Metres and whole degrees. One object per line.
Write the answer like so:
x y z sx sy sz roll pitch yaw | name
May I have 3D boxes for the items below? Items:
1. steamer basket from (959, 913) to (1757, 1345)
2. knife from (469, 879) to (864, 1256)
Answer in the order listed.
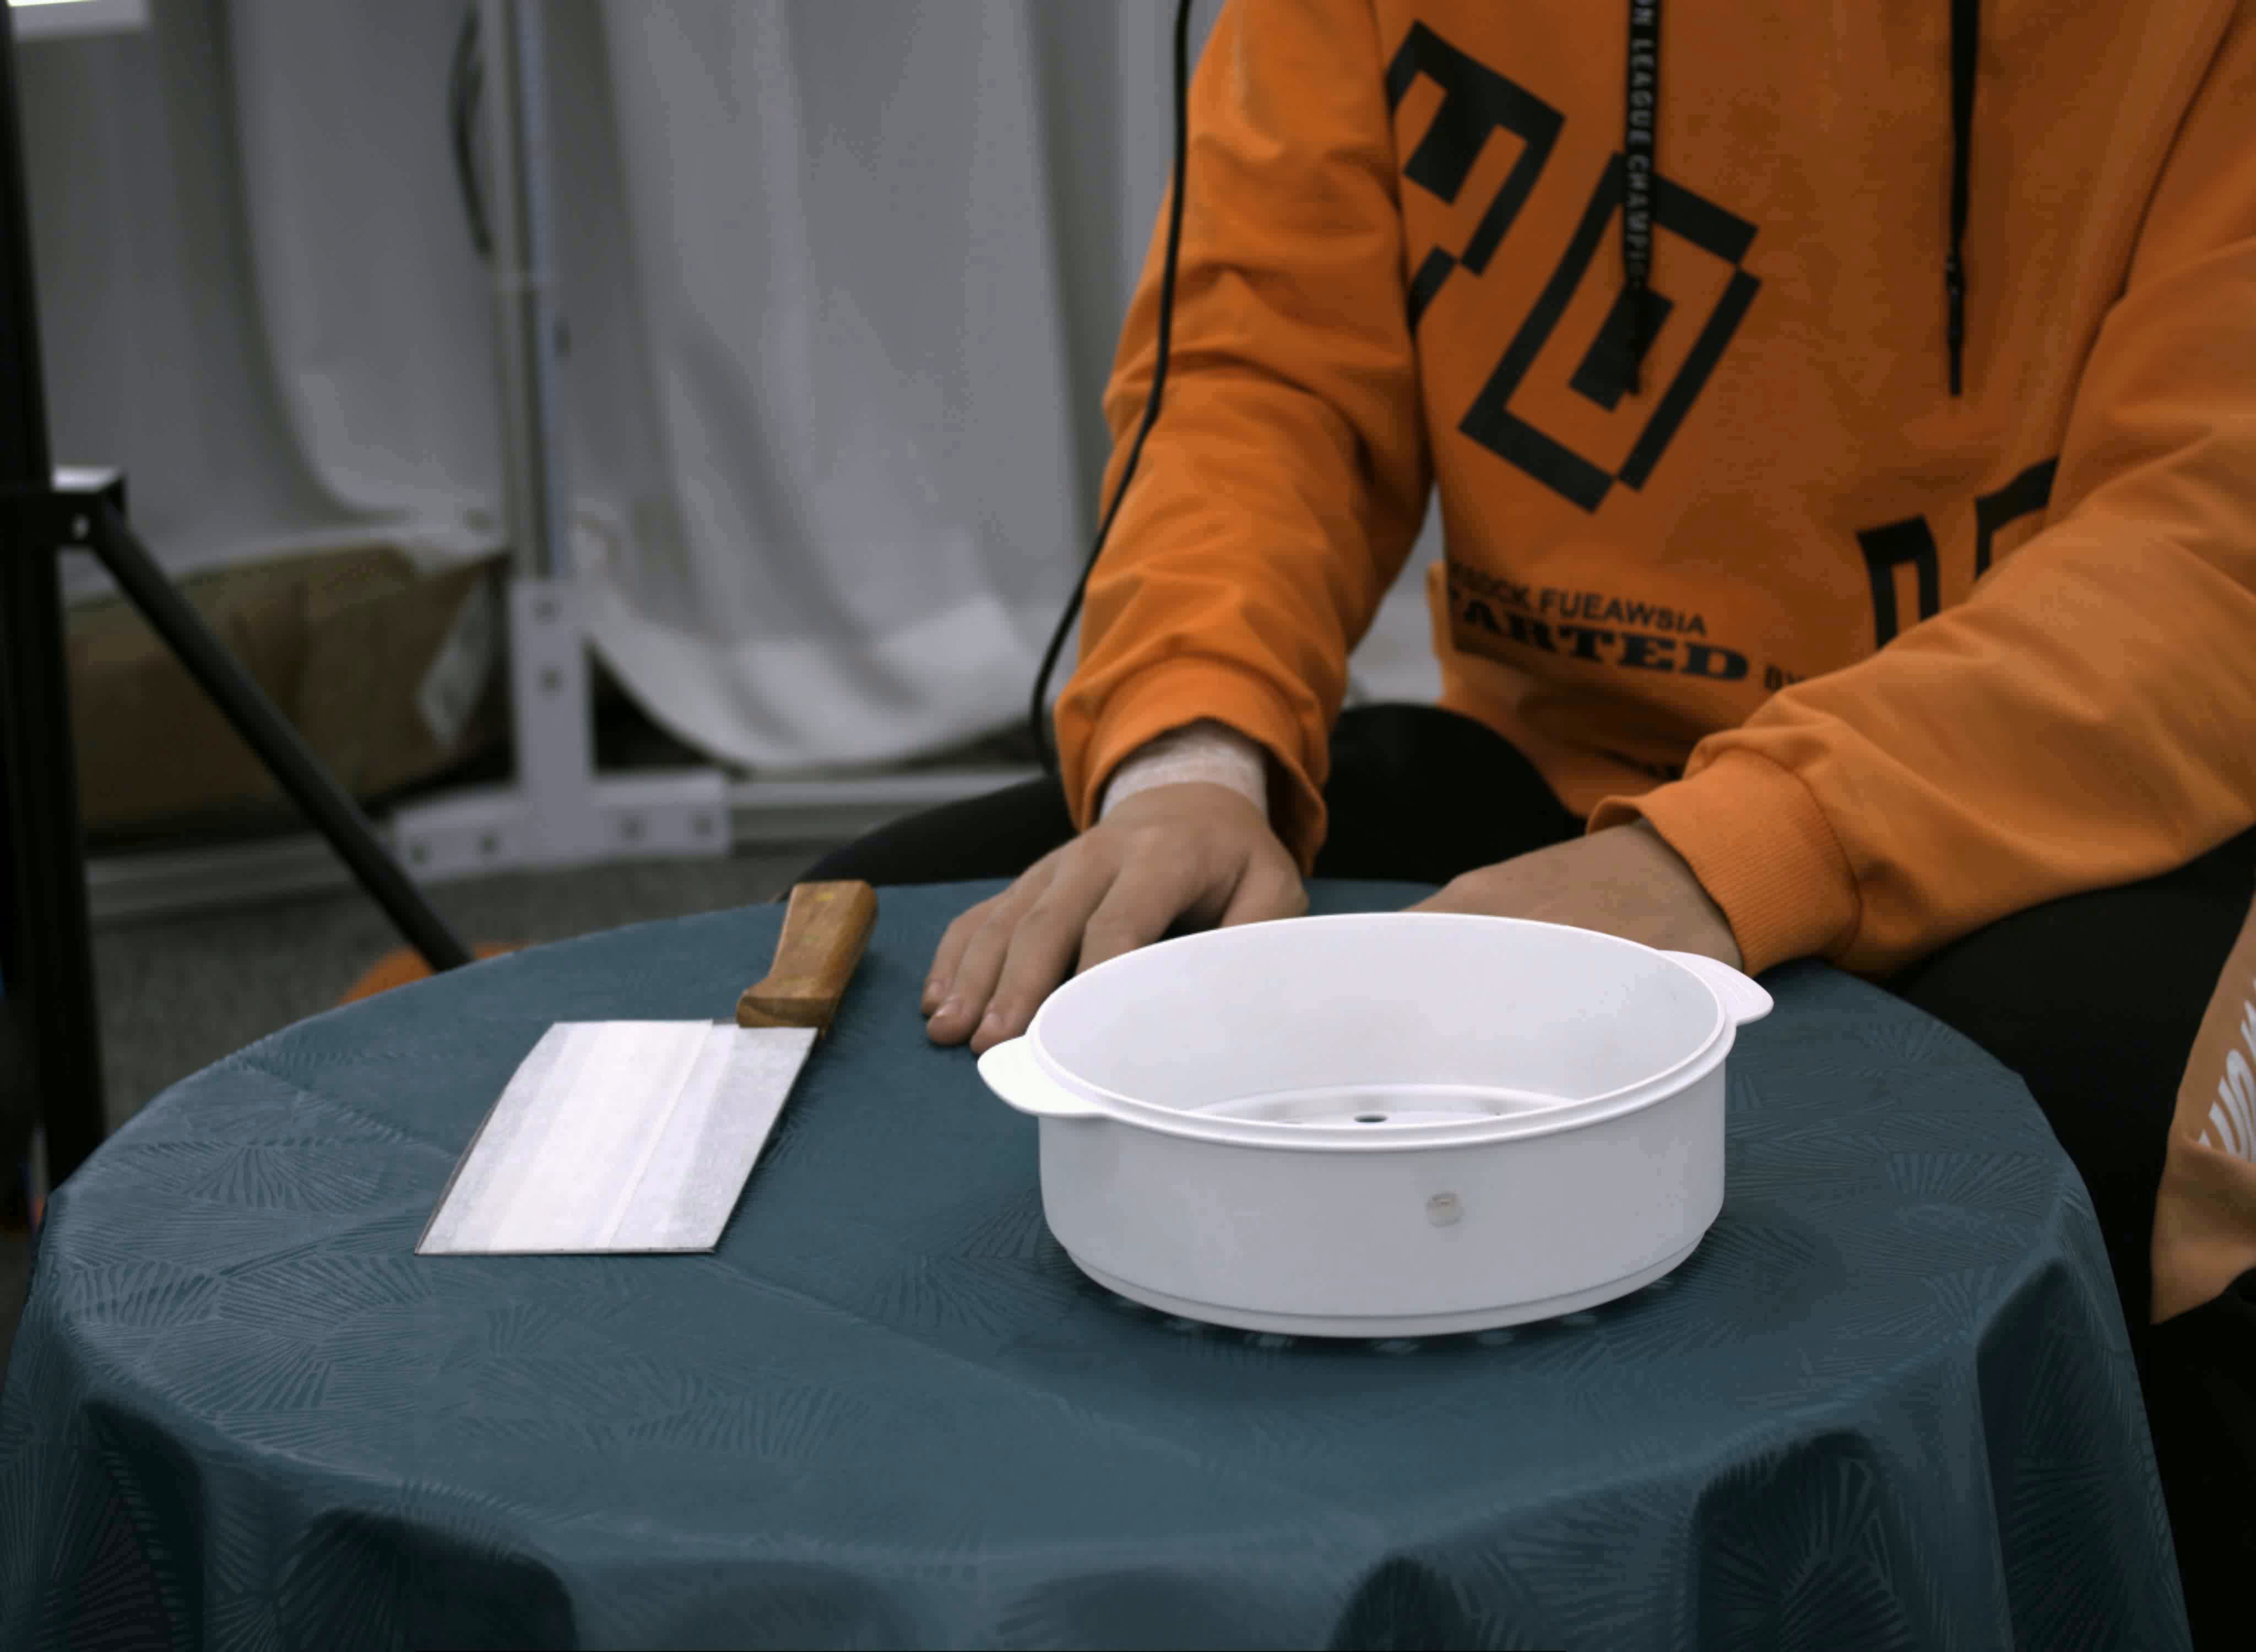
0.067 0.086 1.499 0.227 0.069 0.205 -9 16 -15 | steamer basket
-0.143 0.074 1.673 0.093 0.021 0.305 -2 18 8 | knife
